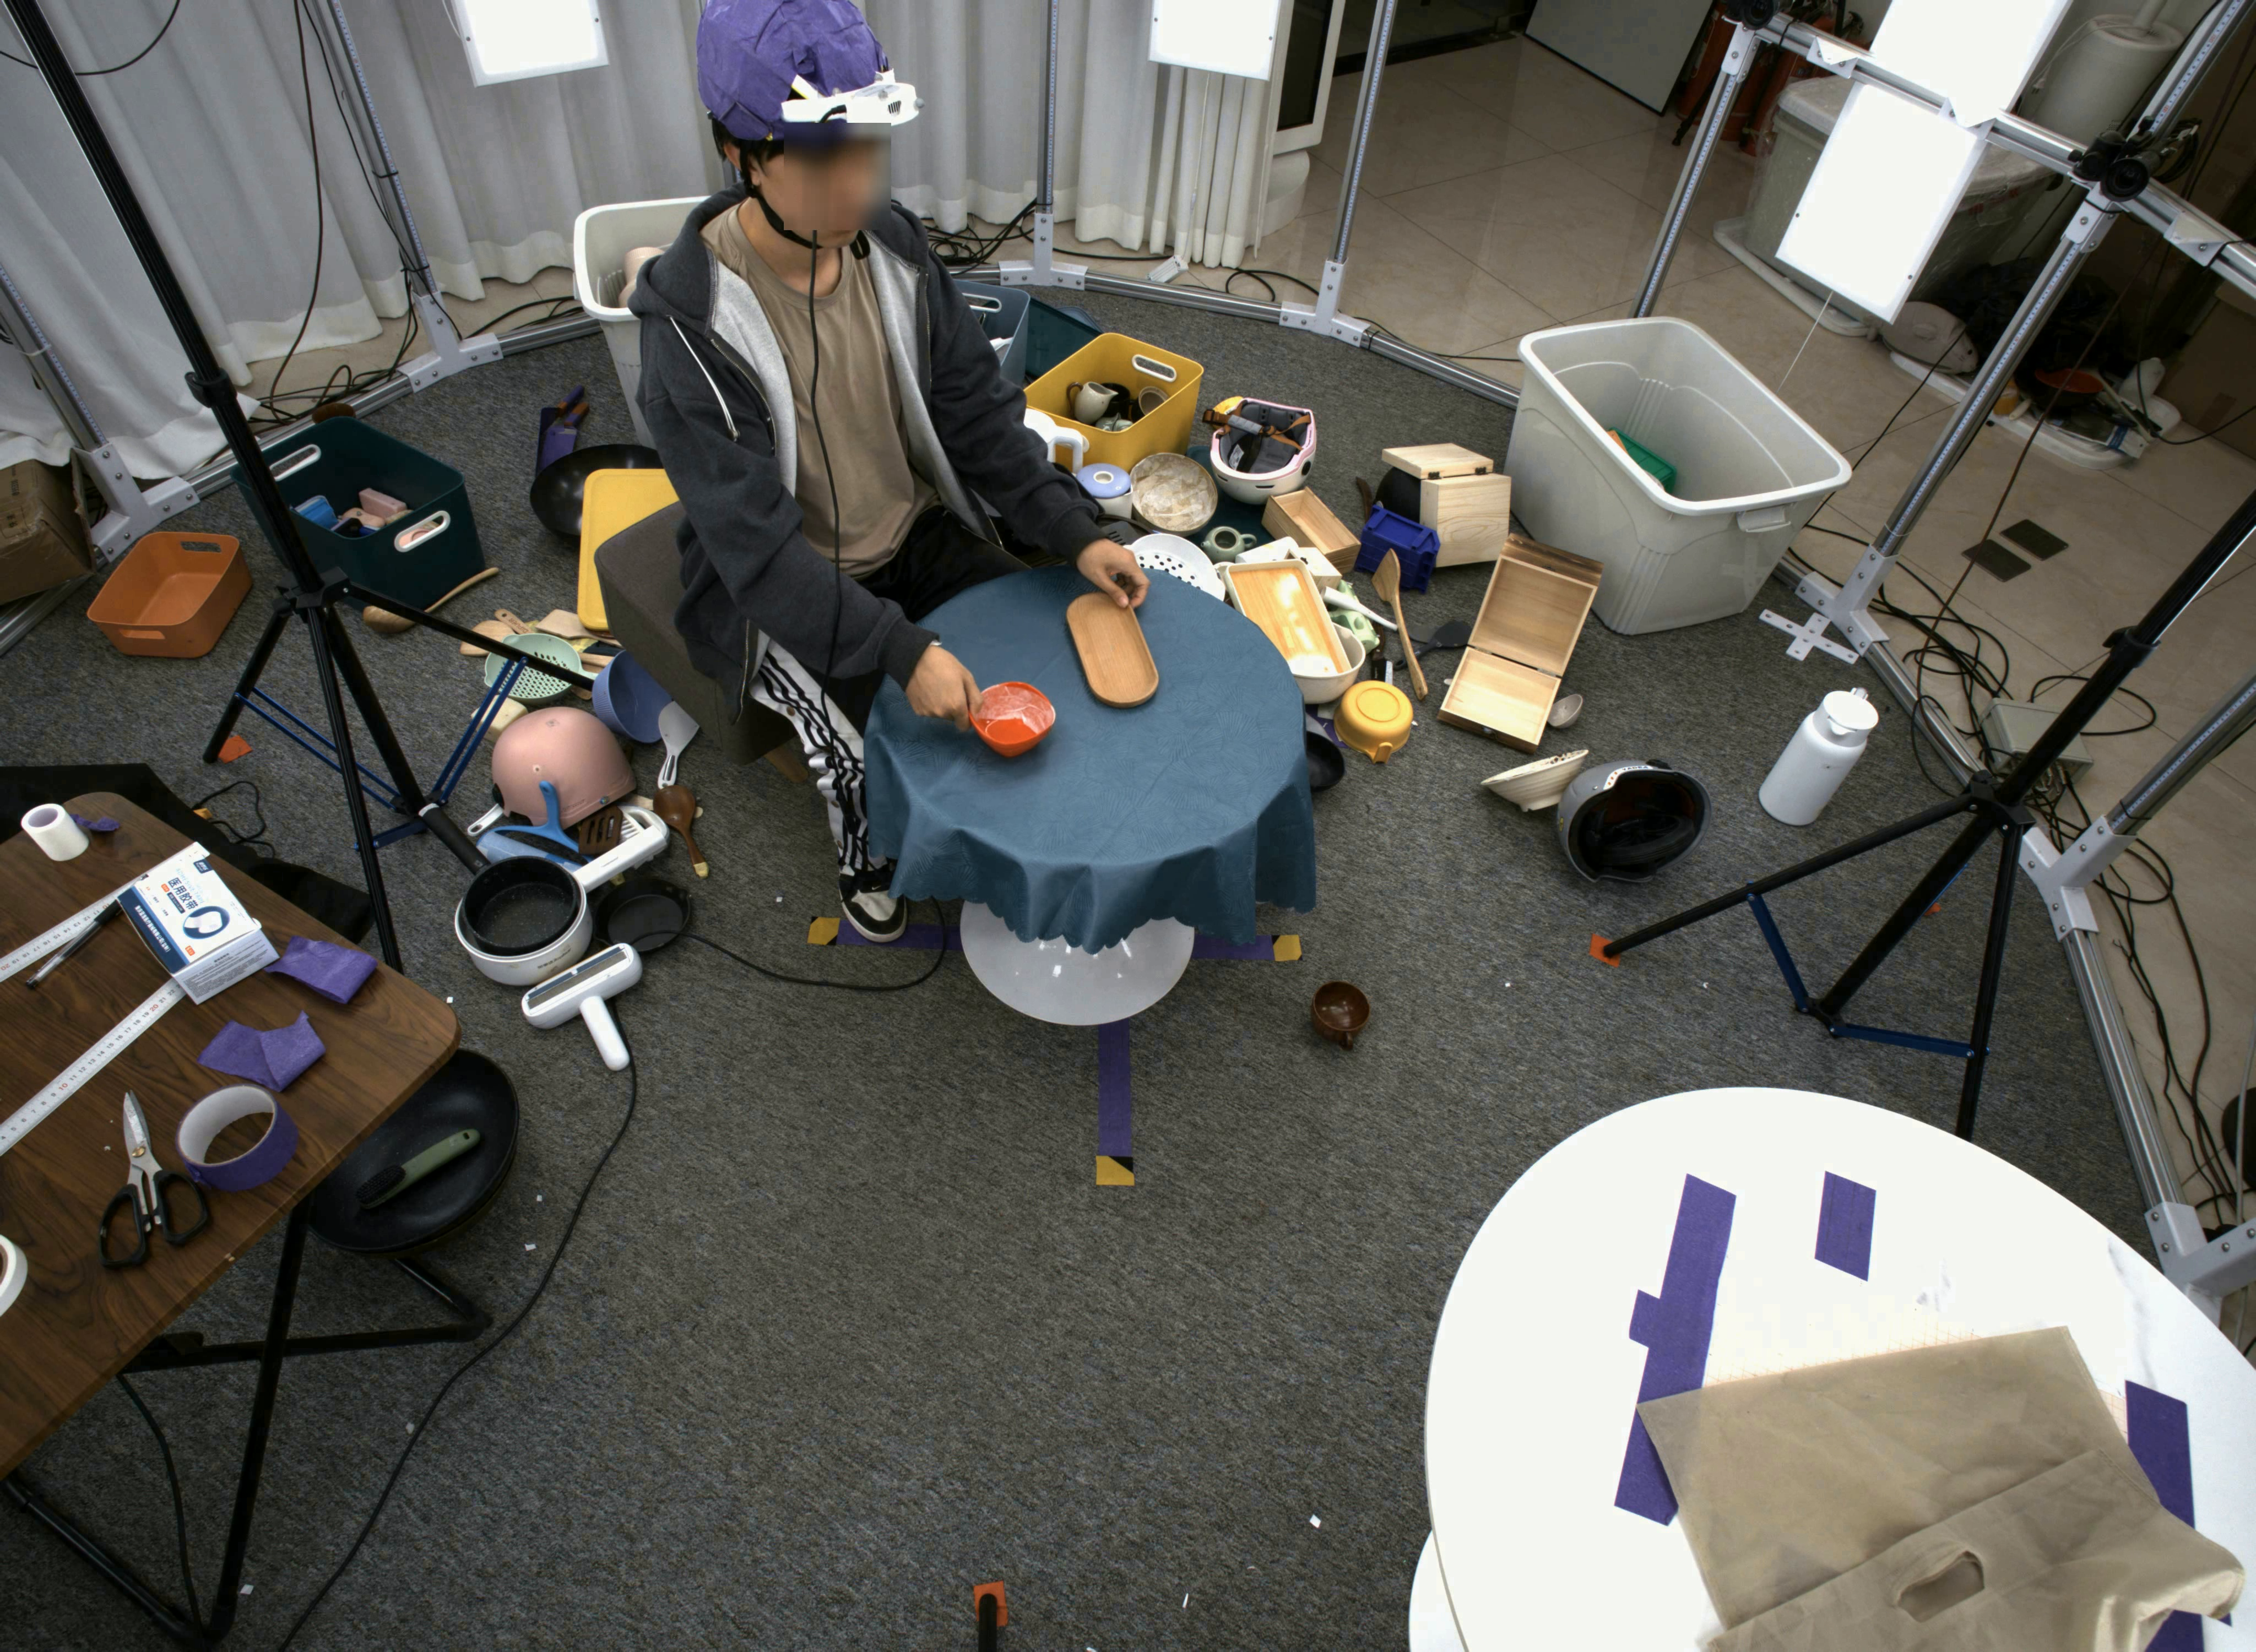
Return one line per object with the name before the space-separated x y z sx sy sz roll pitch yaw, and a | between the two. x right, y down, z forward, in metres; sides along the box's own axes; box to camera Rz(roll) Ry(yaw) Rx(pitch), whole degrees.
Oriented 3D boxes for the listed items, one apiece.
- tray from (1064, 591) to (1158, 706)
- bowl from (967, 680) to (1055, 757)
tray | -0.026 -0.262 1.878 0.101 0.020 0.237 -12 51 -11
bowl | -0.159 -0.139 1.742 0.119 0.050 0.122 2 50 -2
